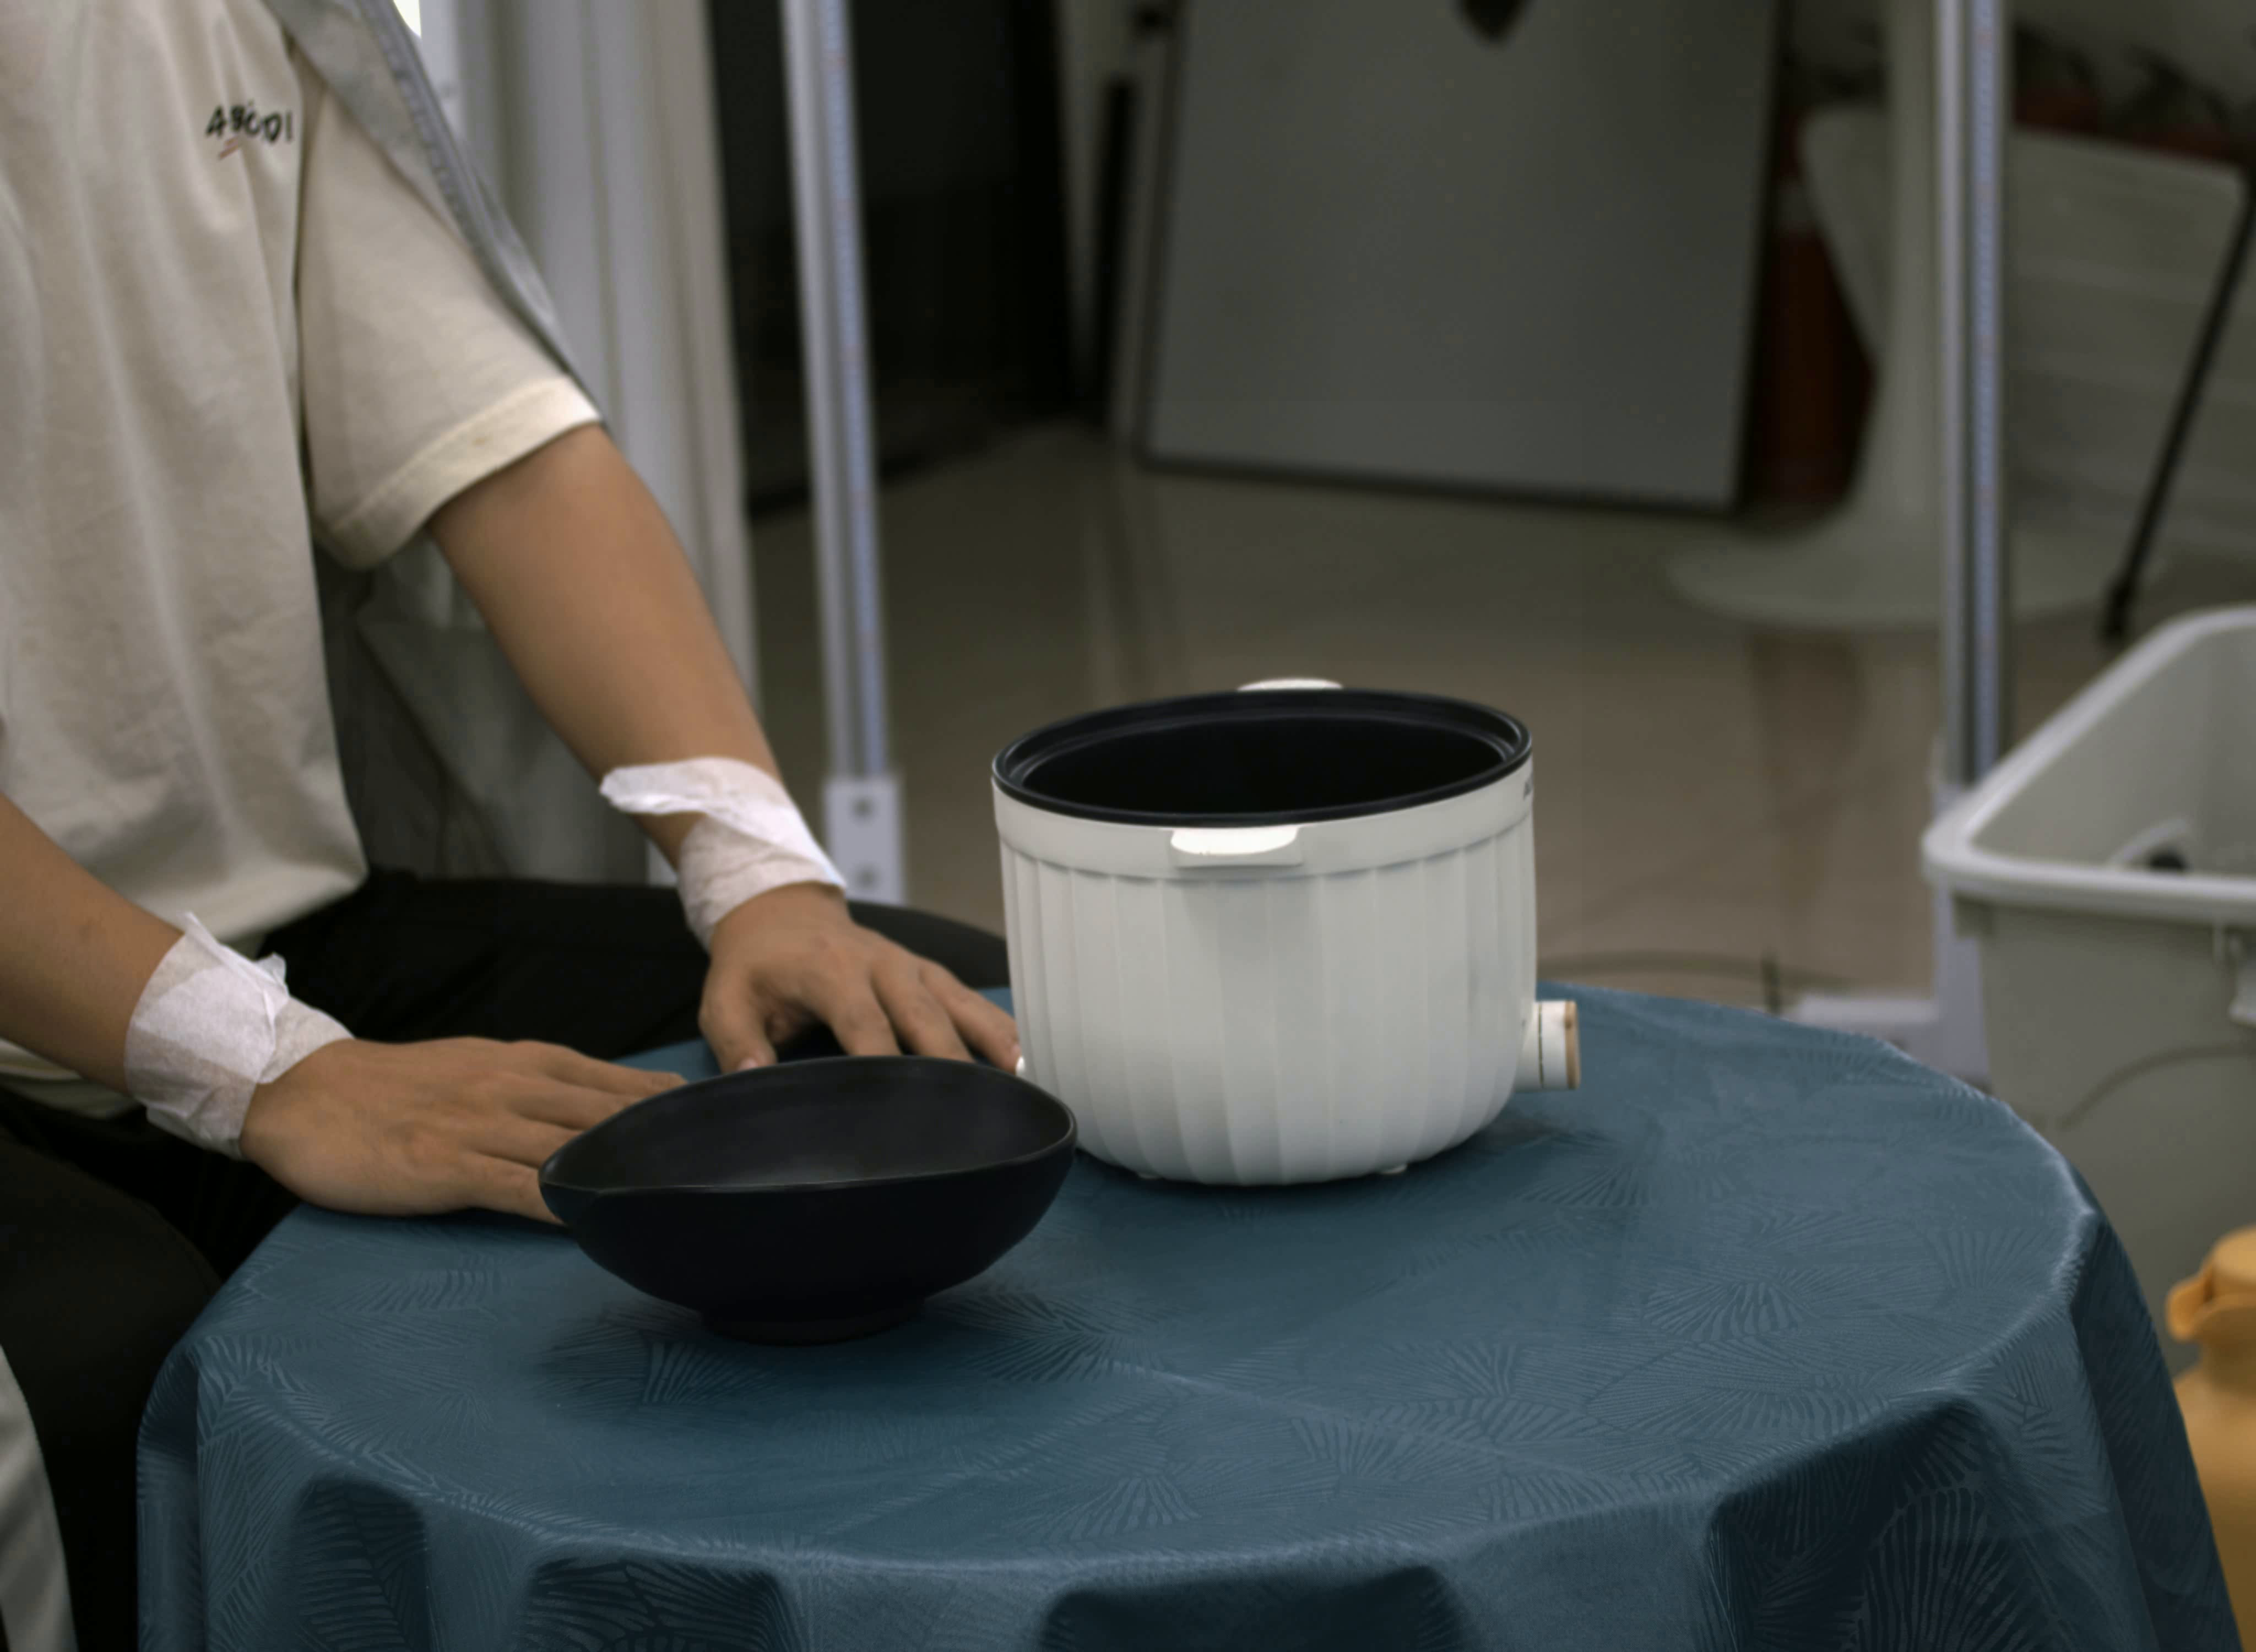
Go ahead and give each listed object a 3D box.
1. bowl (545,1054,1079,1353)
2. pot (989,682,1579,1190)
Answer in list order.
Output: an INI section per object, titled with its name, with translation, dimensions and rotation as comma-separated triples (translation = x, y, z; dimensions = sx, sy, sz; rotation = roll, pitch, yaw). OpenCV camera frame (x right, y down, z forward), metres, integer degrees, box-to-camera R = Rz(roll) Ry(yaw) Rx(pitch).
[bowl]
translation = -0.096, 0.121, 1.667
dimensions = 0.169, 0.067, 0.137
rotation = -3, 13, 8
[pot]
translation = 0.053, 0.038, 1.806
dimensions = 0.189, 0.144, 0.240
rotation = -5, 14, 8
